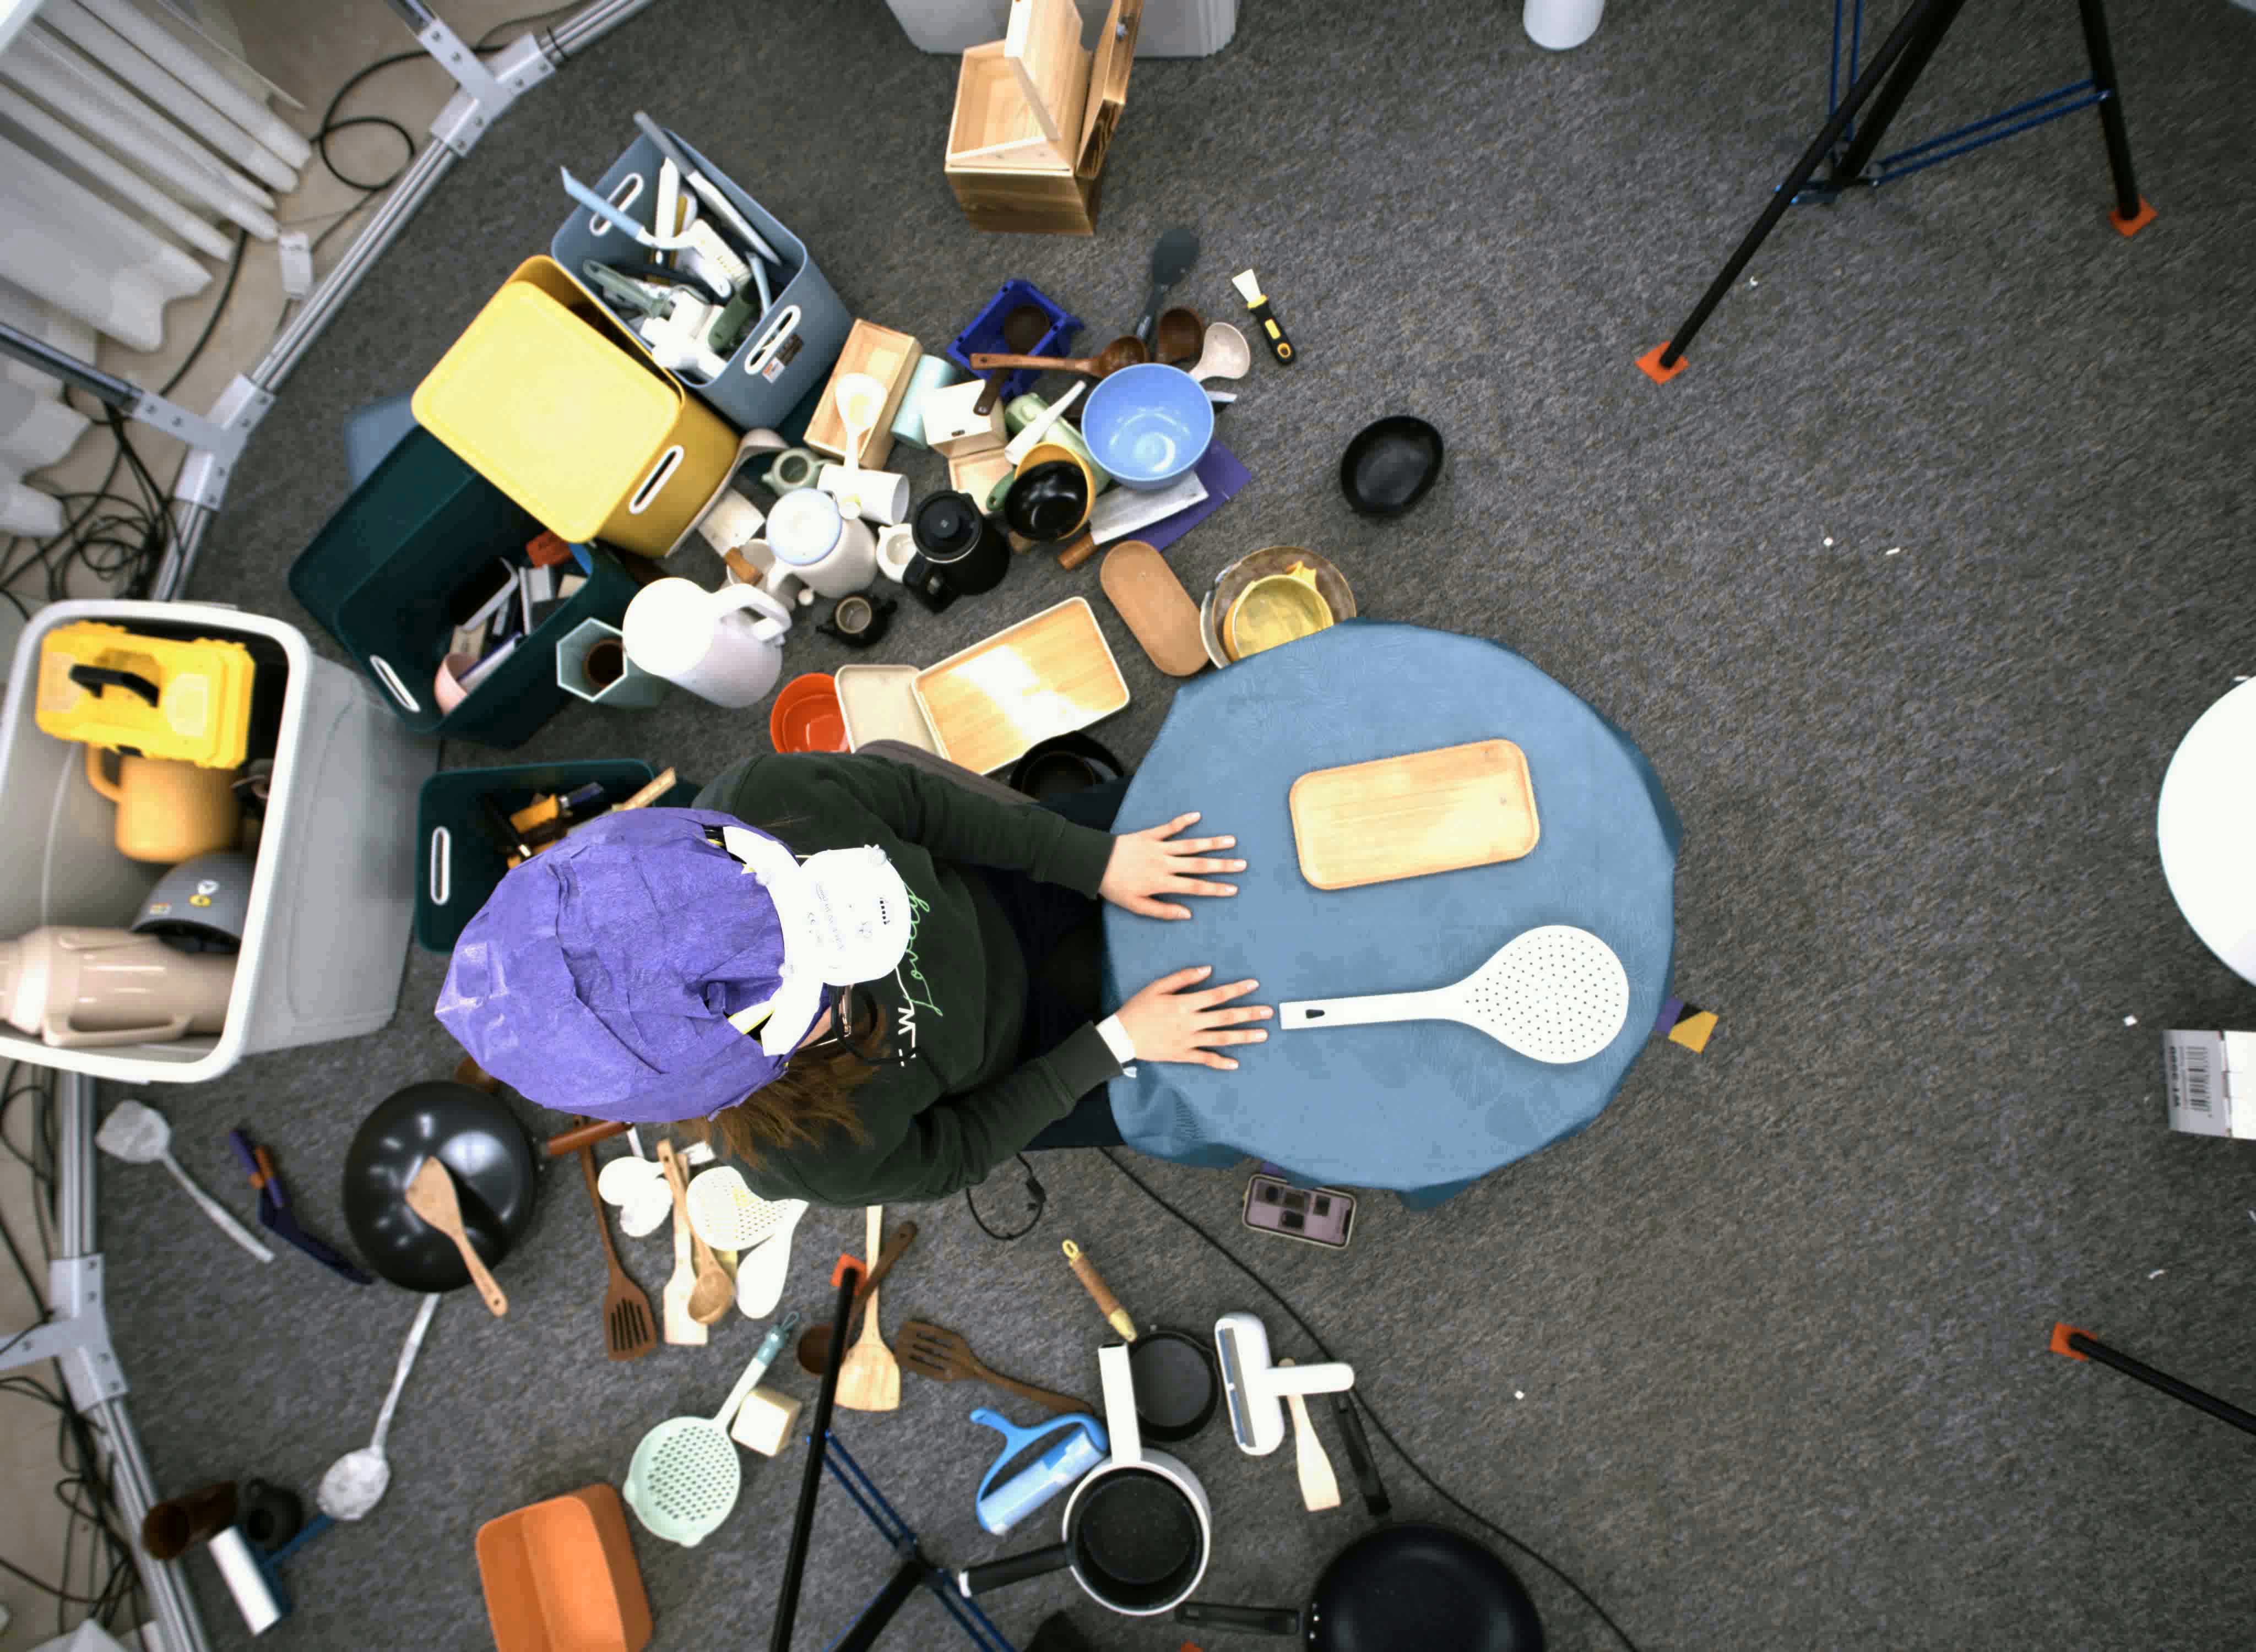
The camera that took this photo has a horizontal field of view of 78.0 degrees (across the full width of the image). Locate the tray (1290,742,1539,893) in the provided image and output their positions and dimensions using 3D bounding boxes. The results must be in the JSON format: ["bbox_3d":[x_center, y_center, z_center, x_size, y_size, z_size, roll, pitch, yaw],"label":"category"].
[{"bbox_3d":[0.301,-0.009,1.456,0.252,0.023,0.129,-10,83,10],"label":"tray"}]

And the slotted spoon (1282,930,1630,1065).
[{"bbox_3d":[0.333,0.183,1.423,0.351,0.046,0.135,-6,83,11],"label":"slotted spoon"}]
